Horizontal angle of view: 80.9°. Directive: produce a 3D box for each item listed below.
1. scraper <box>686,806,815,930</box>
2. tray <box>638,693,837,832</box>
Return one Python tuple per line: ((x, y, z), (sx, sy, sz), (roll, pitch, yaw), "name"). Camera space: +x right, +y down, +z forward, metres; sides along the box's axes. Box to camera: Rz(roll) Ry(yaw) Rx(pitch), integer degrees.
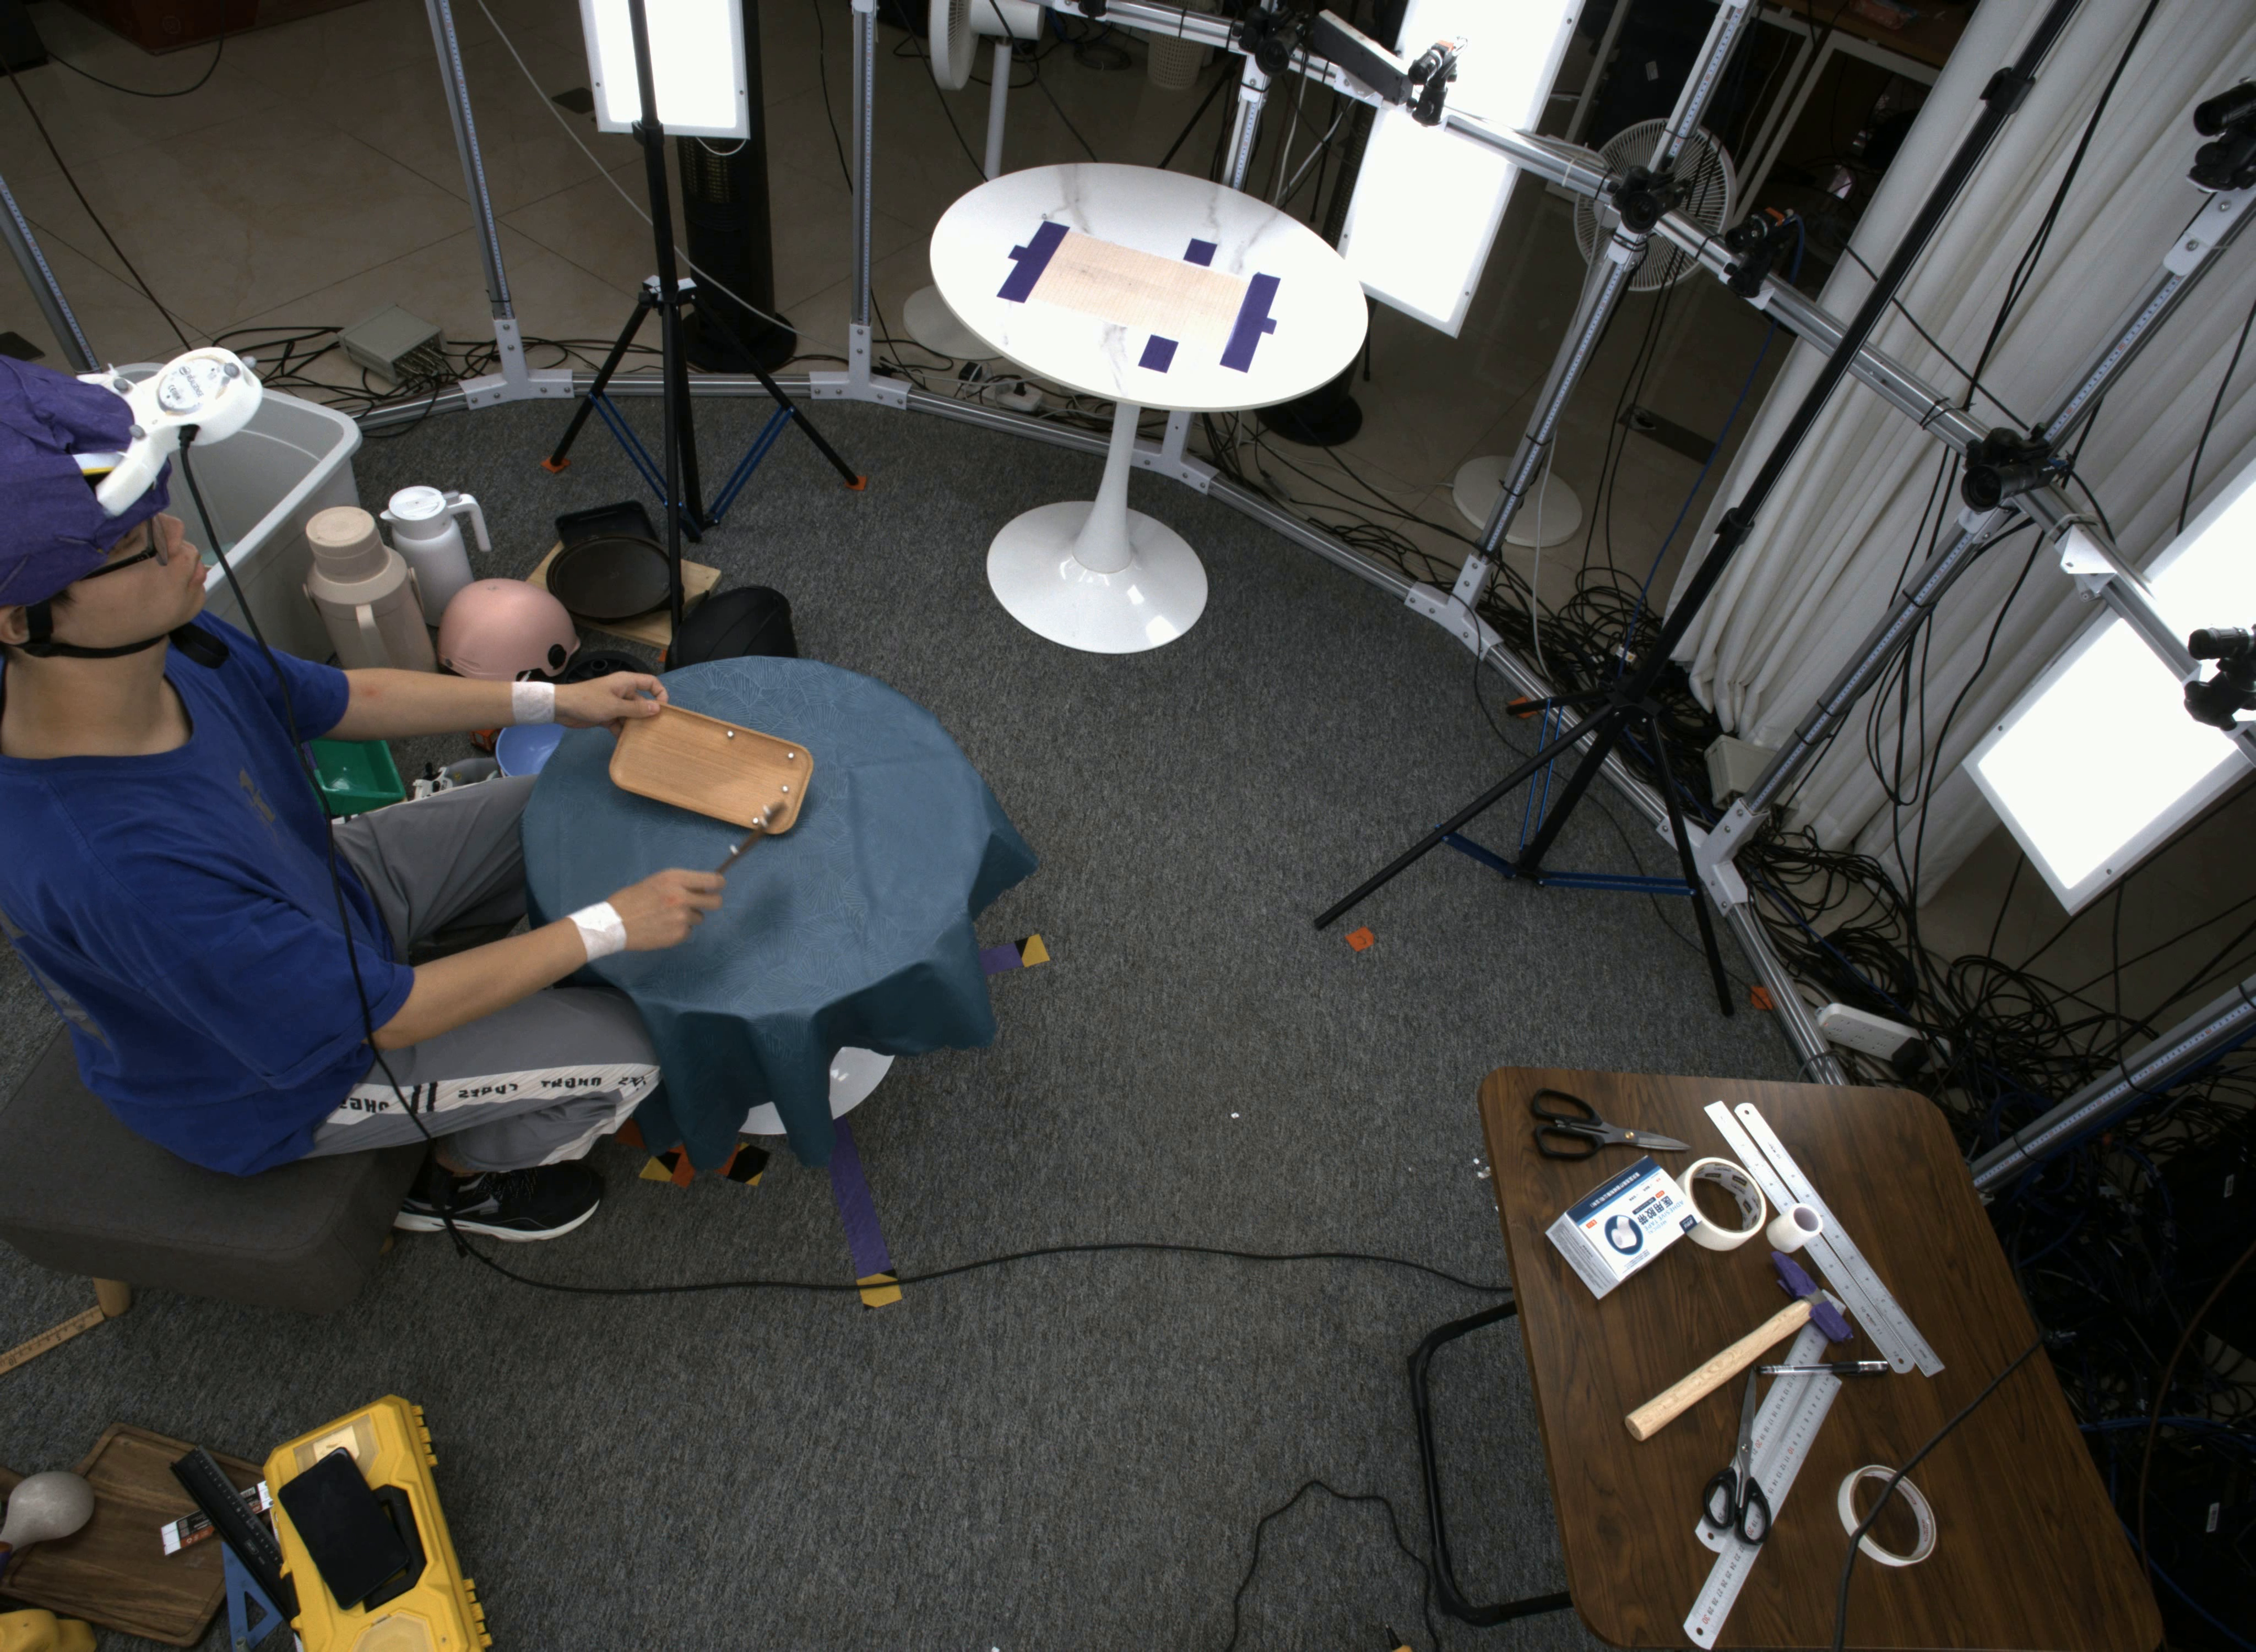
((-0.461, 0.049, 1.580), (0.011, 0.074, 0.211), (50, 64, -17), "scraper")
((-0.520, -0.084, 1.718), (0.250, 0.023, 0.130), (19, 76, -7), "tray")
